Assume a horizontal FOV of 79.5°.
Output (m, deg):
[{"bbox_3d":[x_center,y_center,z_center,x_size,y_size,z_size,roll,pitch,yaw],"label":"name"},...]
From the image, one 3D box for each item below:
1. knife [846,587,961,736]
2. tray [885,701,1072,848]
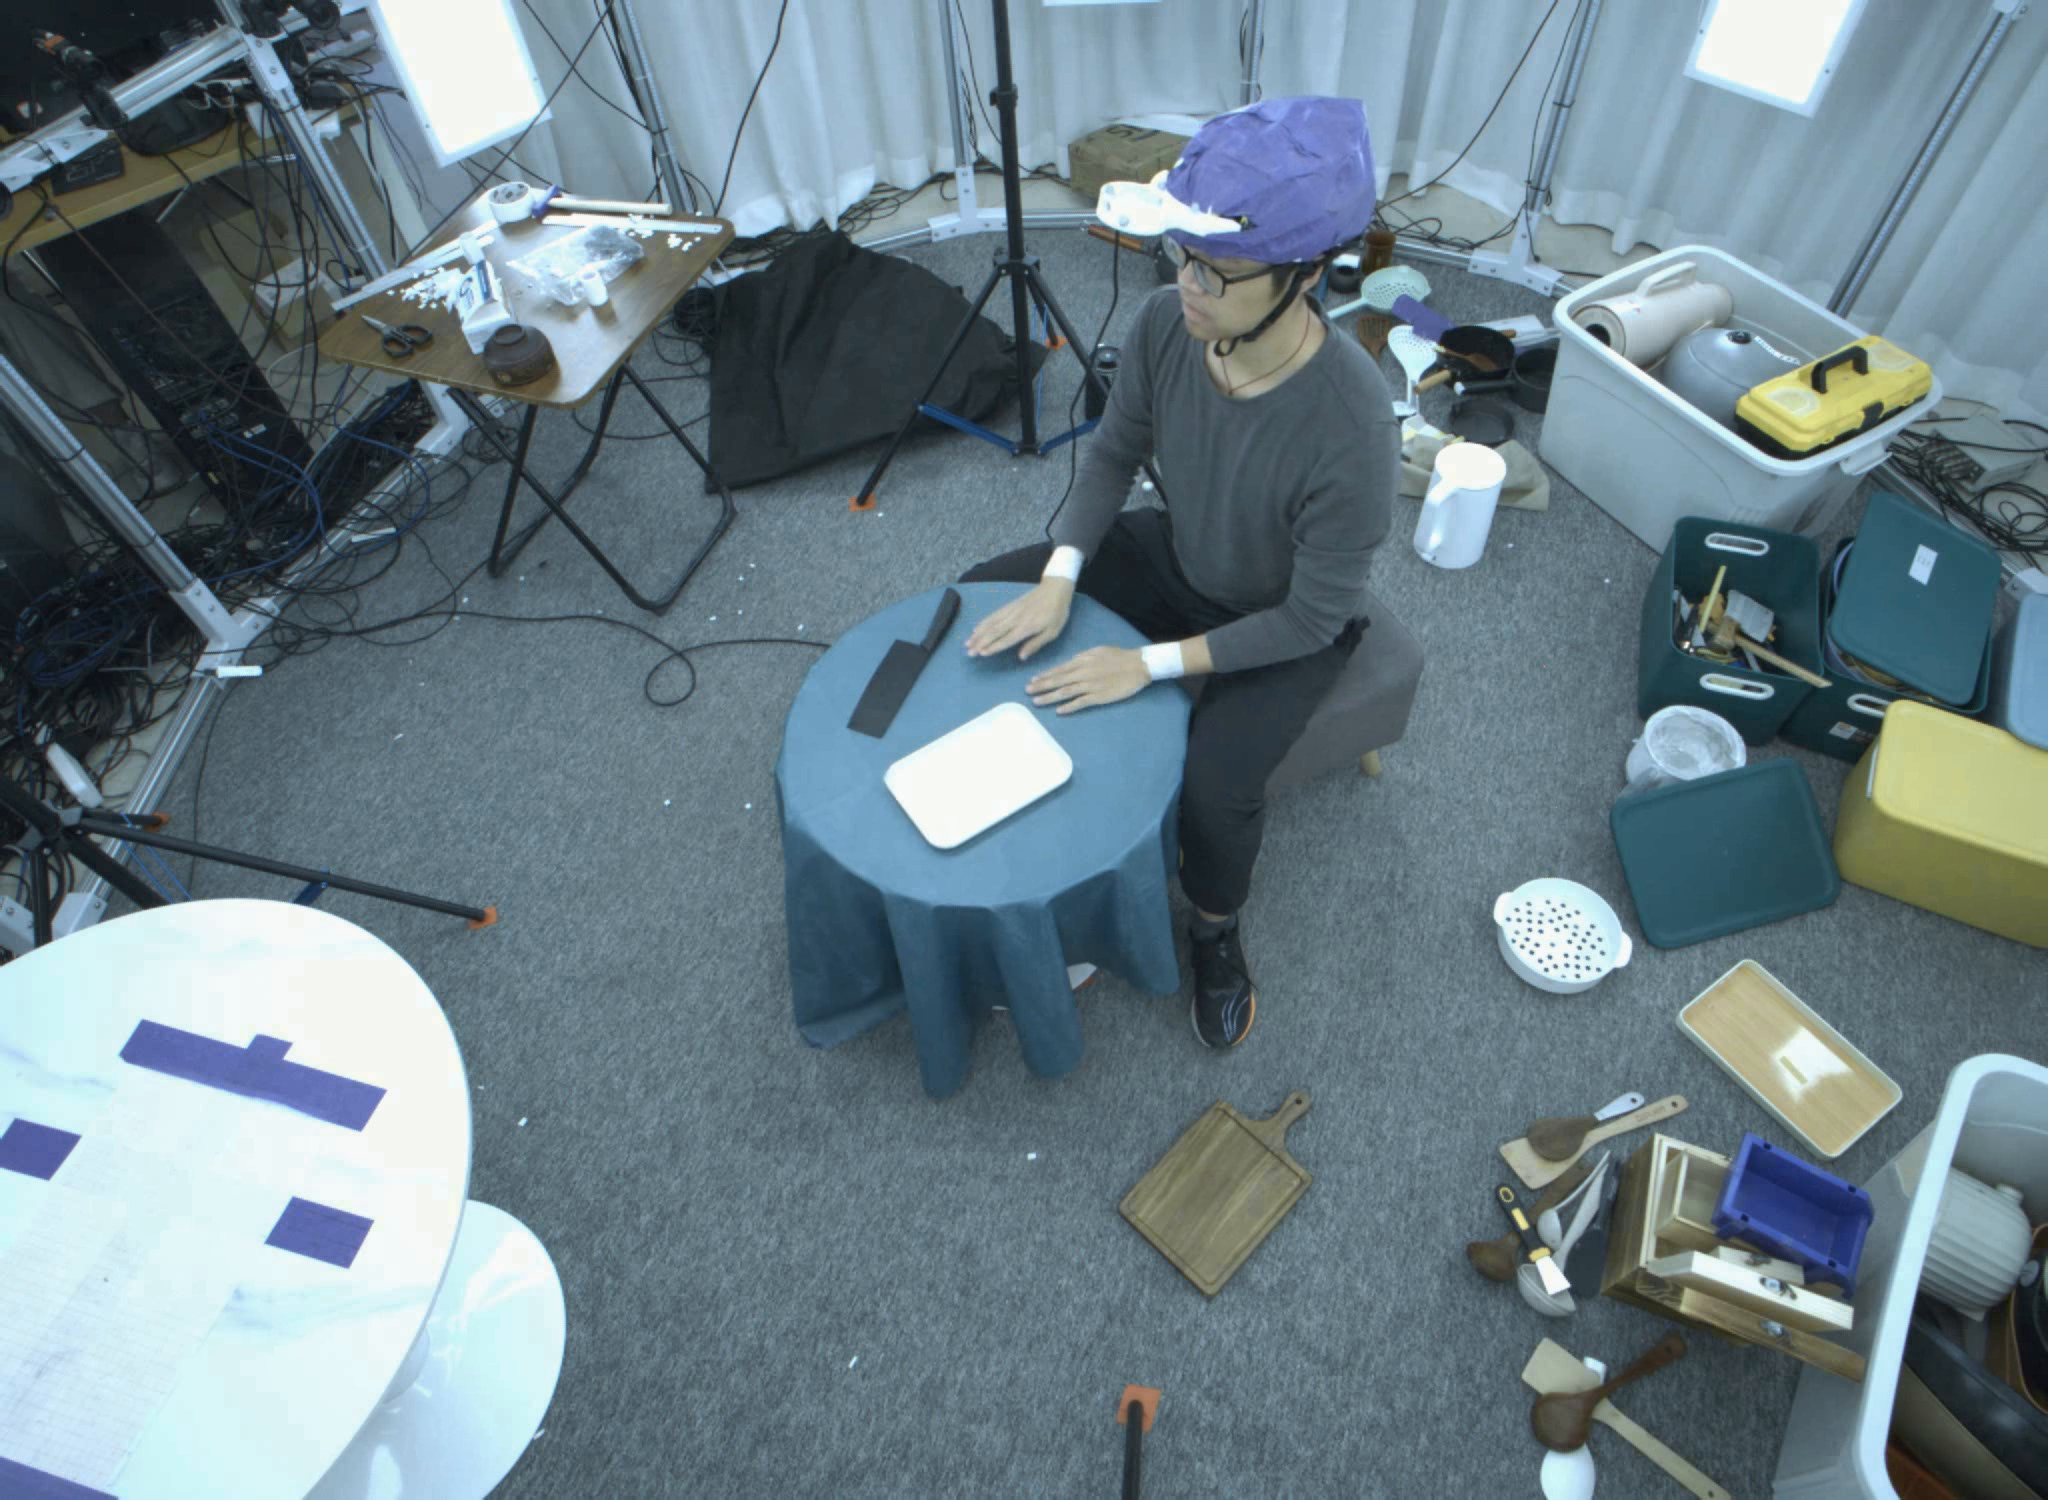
[{"bbox_3d":[-0.180,-0.142,1.893,0.080,0.021,0.302,21,59,17],"label":"knife"},{"bbox_3d":[-0.065,0.034,1.761,0.241,0.017,0.168,-30,60,-19],"label":"tray"}]
